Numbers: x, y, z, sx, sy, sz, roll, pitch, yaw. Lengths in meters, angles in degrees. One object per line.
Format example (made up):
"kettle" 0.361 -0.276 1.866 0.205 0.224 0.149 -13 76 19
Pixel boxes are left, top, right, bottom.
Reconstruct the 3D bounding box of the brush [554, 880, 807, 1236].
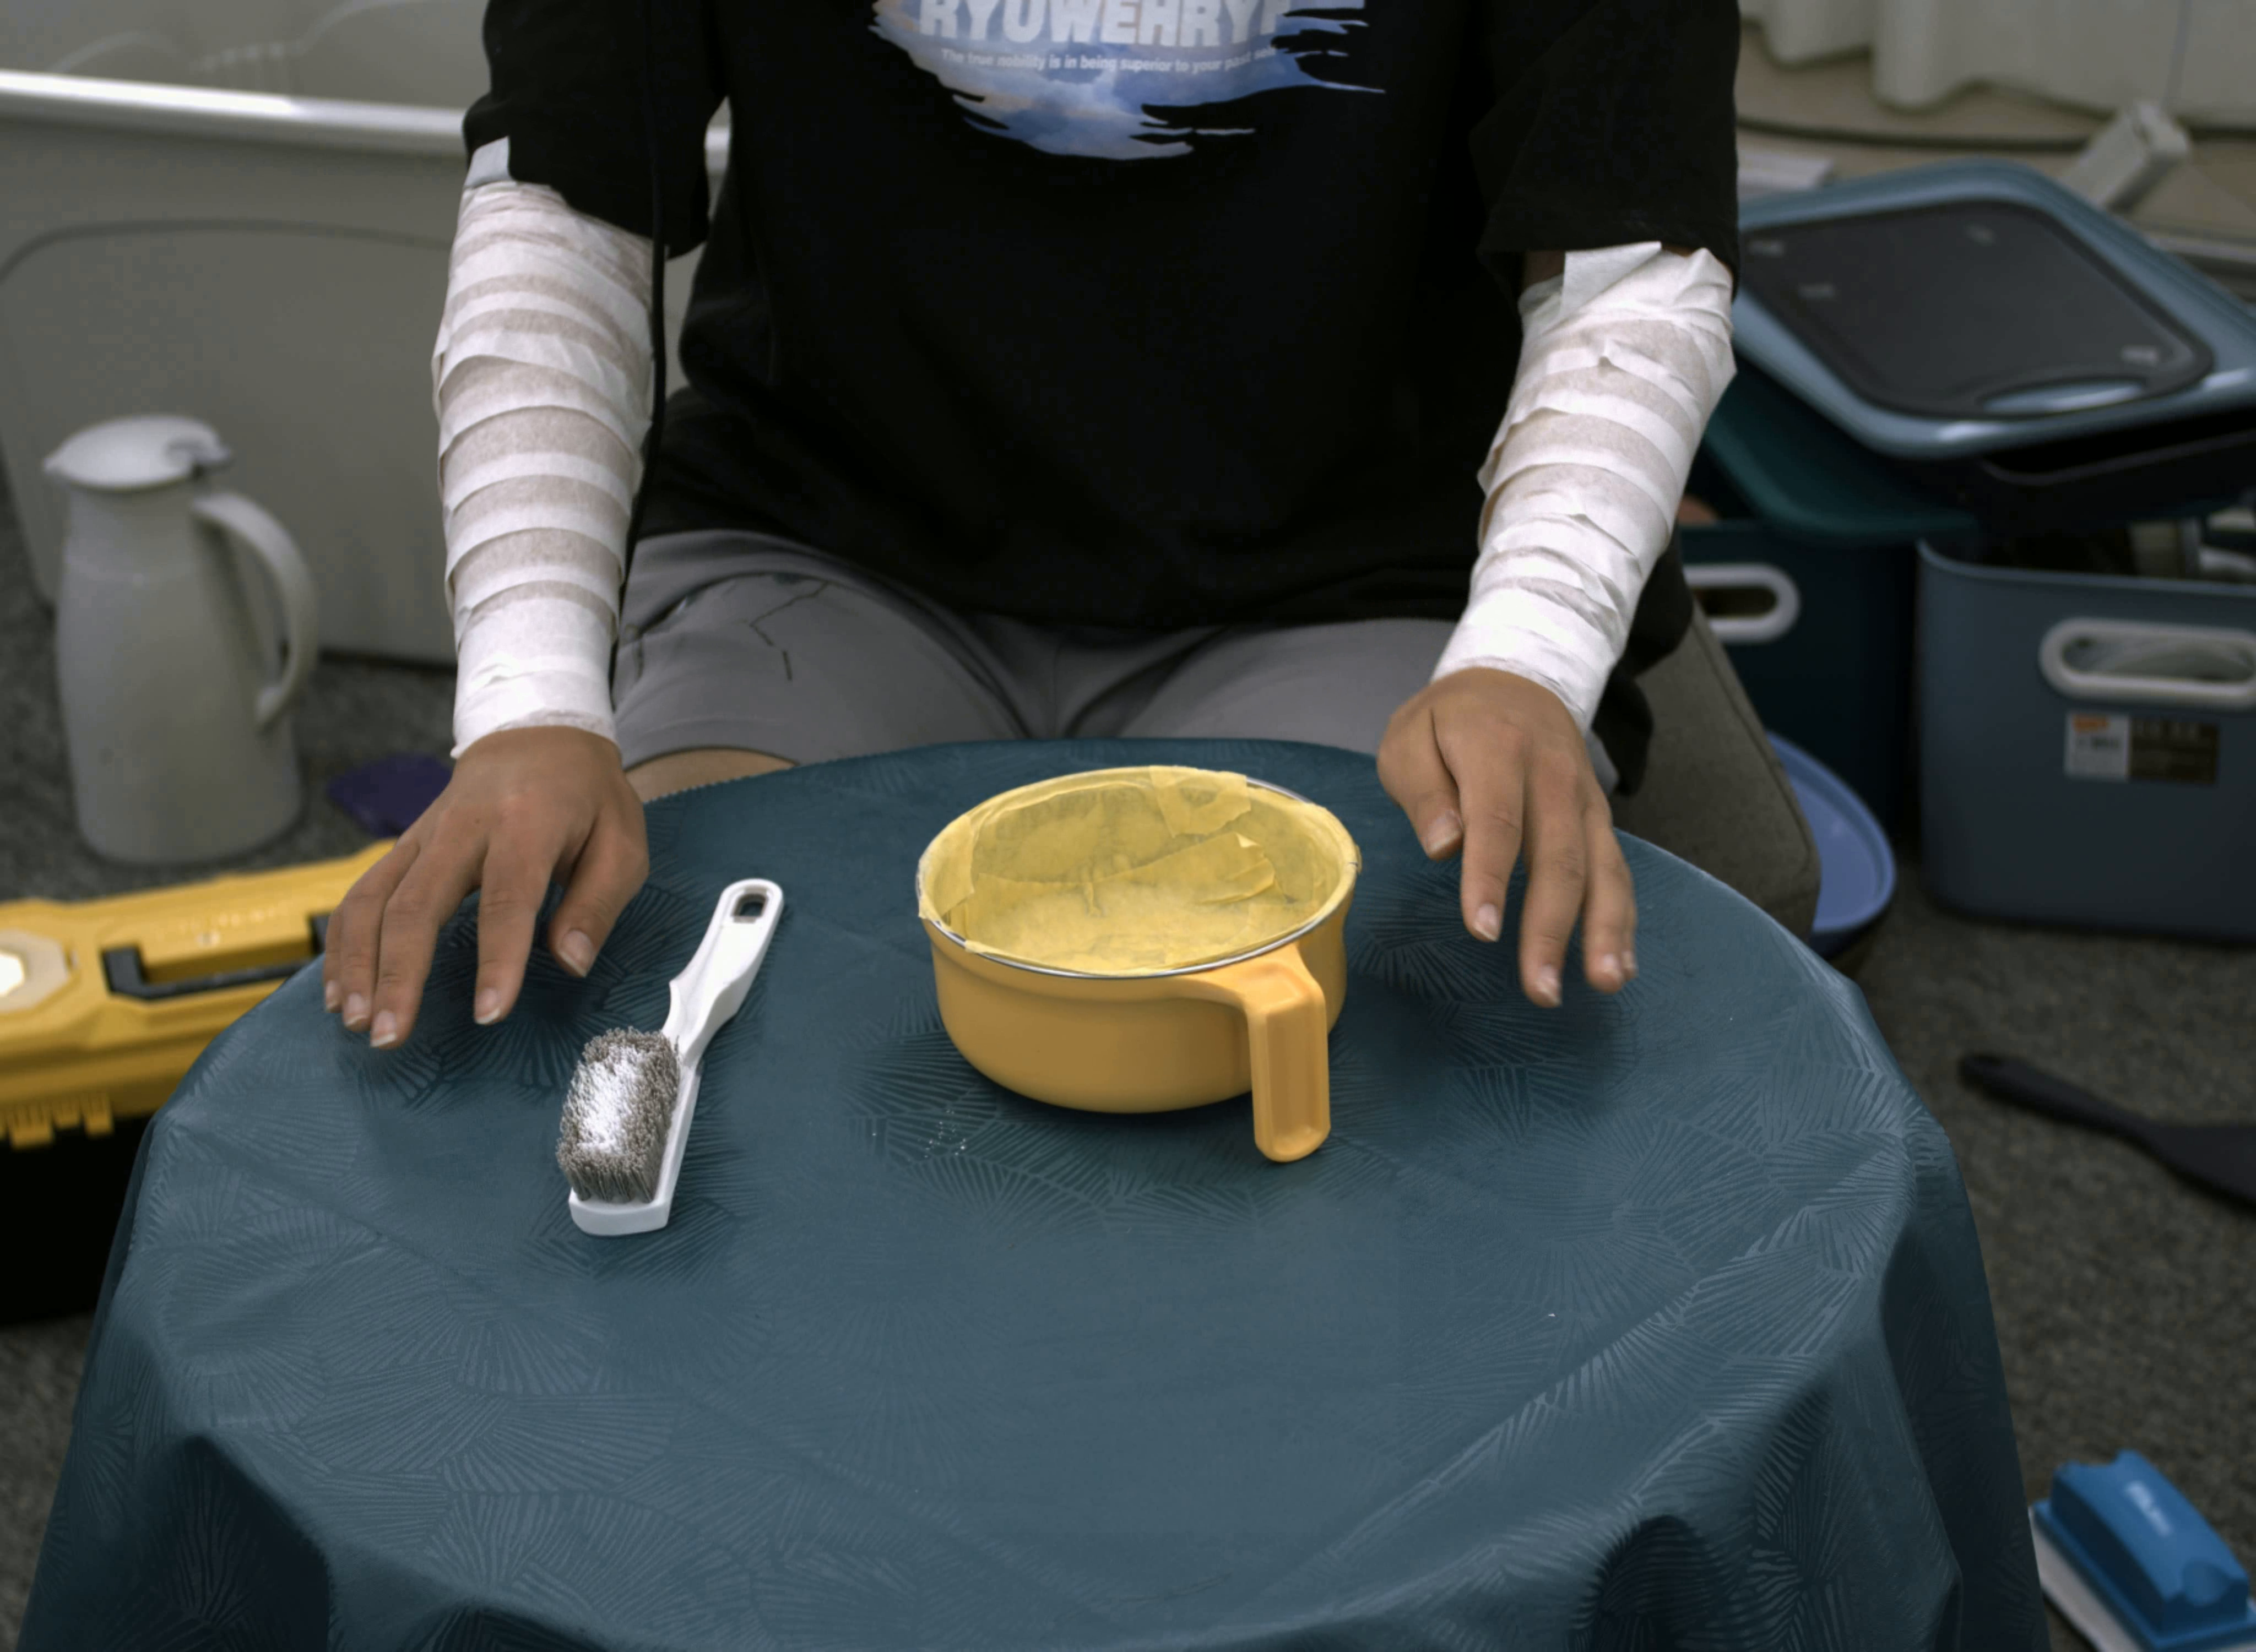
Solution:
"brush" -0.151 0.062 1.938 0.034 0.050 0.248 1 28 12

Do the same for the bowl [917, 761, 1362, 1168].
"bowl" 0.010 0.047 1.930 0.154 0.073 0.180 -14 29 -30
